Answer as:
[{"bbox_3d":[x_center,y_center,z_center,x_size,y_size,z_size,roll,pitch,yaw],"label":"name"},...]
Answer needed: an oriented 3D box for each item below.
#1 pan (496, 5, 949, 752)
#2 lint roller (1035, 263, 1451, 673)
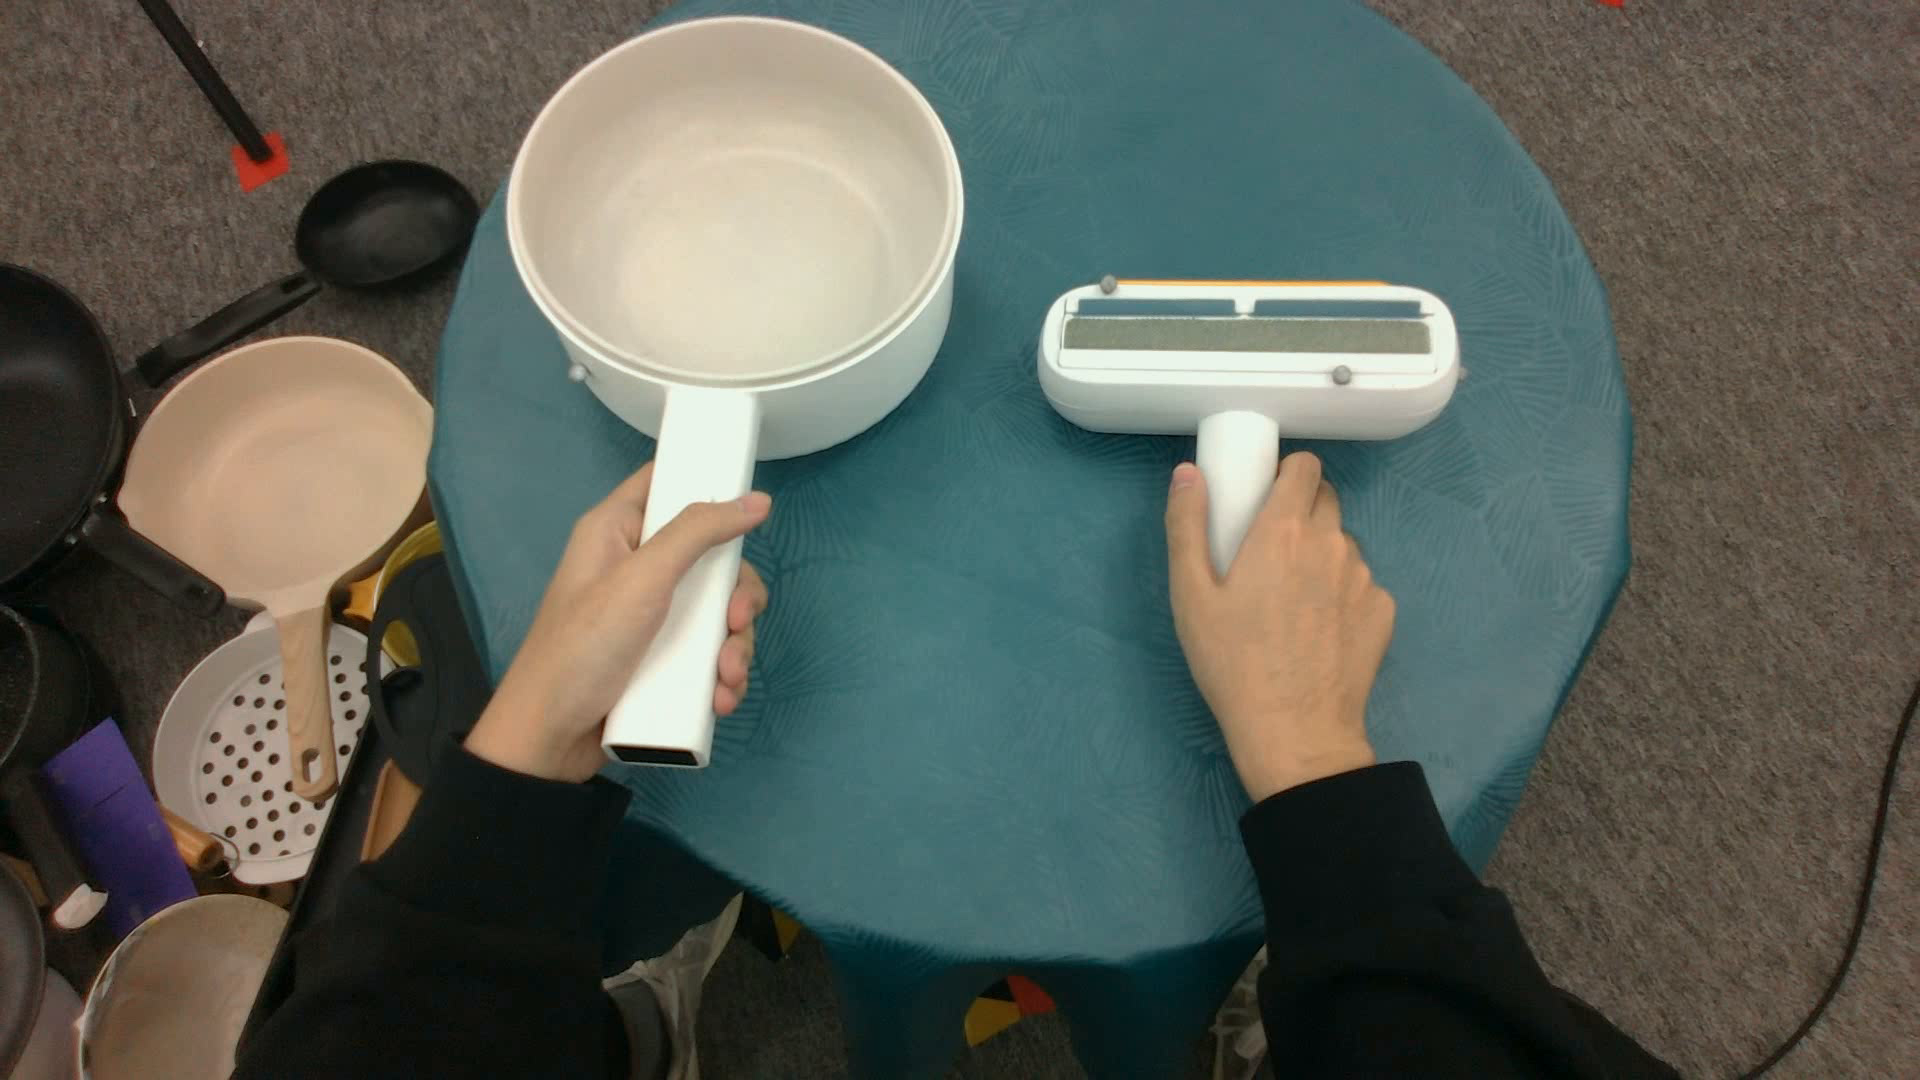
[{"bbox_3d":[-0.111,-0.073,0.626,0.201,0.101,0.356,4,67,-1],"label":"pan"},{"bbox_3d":[0.123,-0.036,0.642,0.193,0.074,0.193,7,69,6],"label":"lint roller"}]
